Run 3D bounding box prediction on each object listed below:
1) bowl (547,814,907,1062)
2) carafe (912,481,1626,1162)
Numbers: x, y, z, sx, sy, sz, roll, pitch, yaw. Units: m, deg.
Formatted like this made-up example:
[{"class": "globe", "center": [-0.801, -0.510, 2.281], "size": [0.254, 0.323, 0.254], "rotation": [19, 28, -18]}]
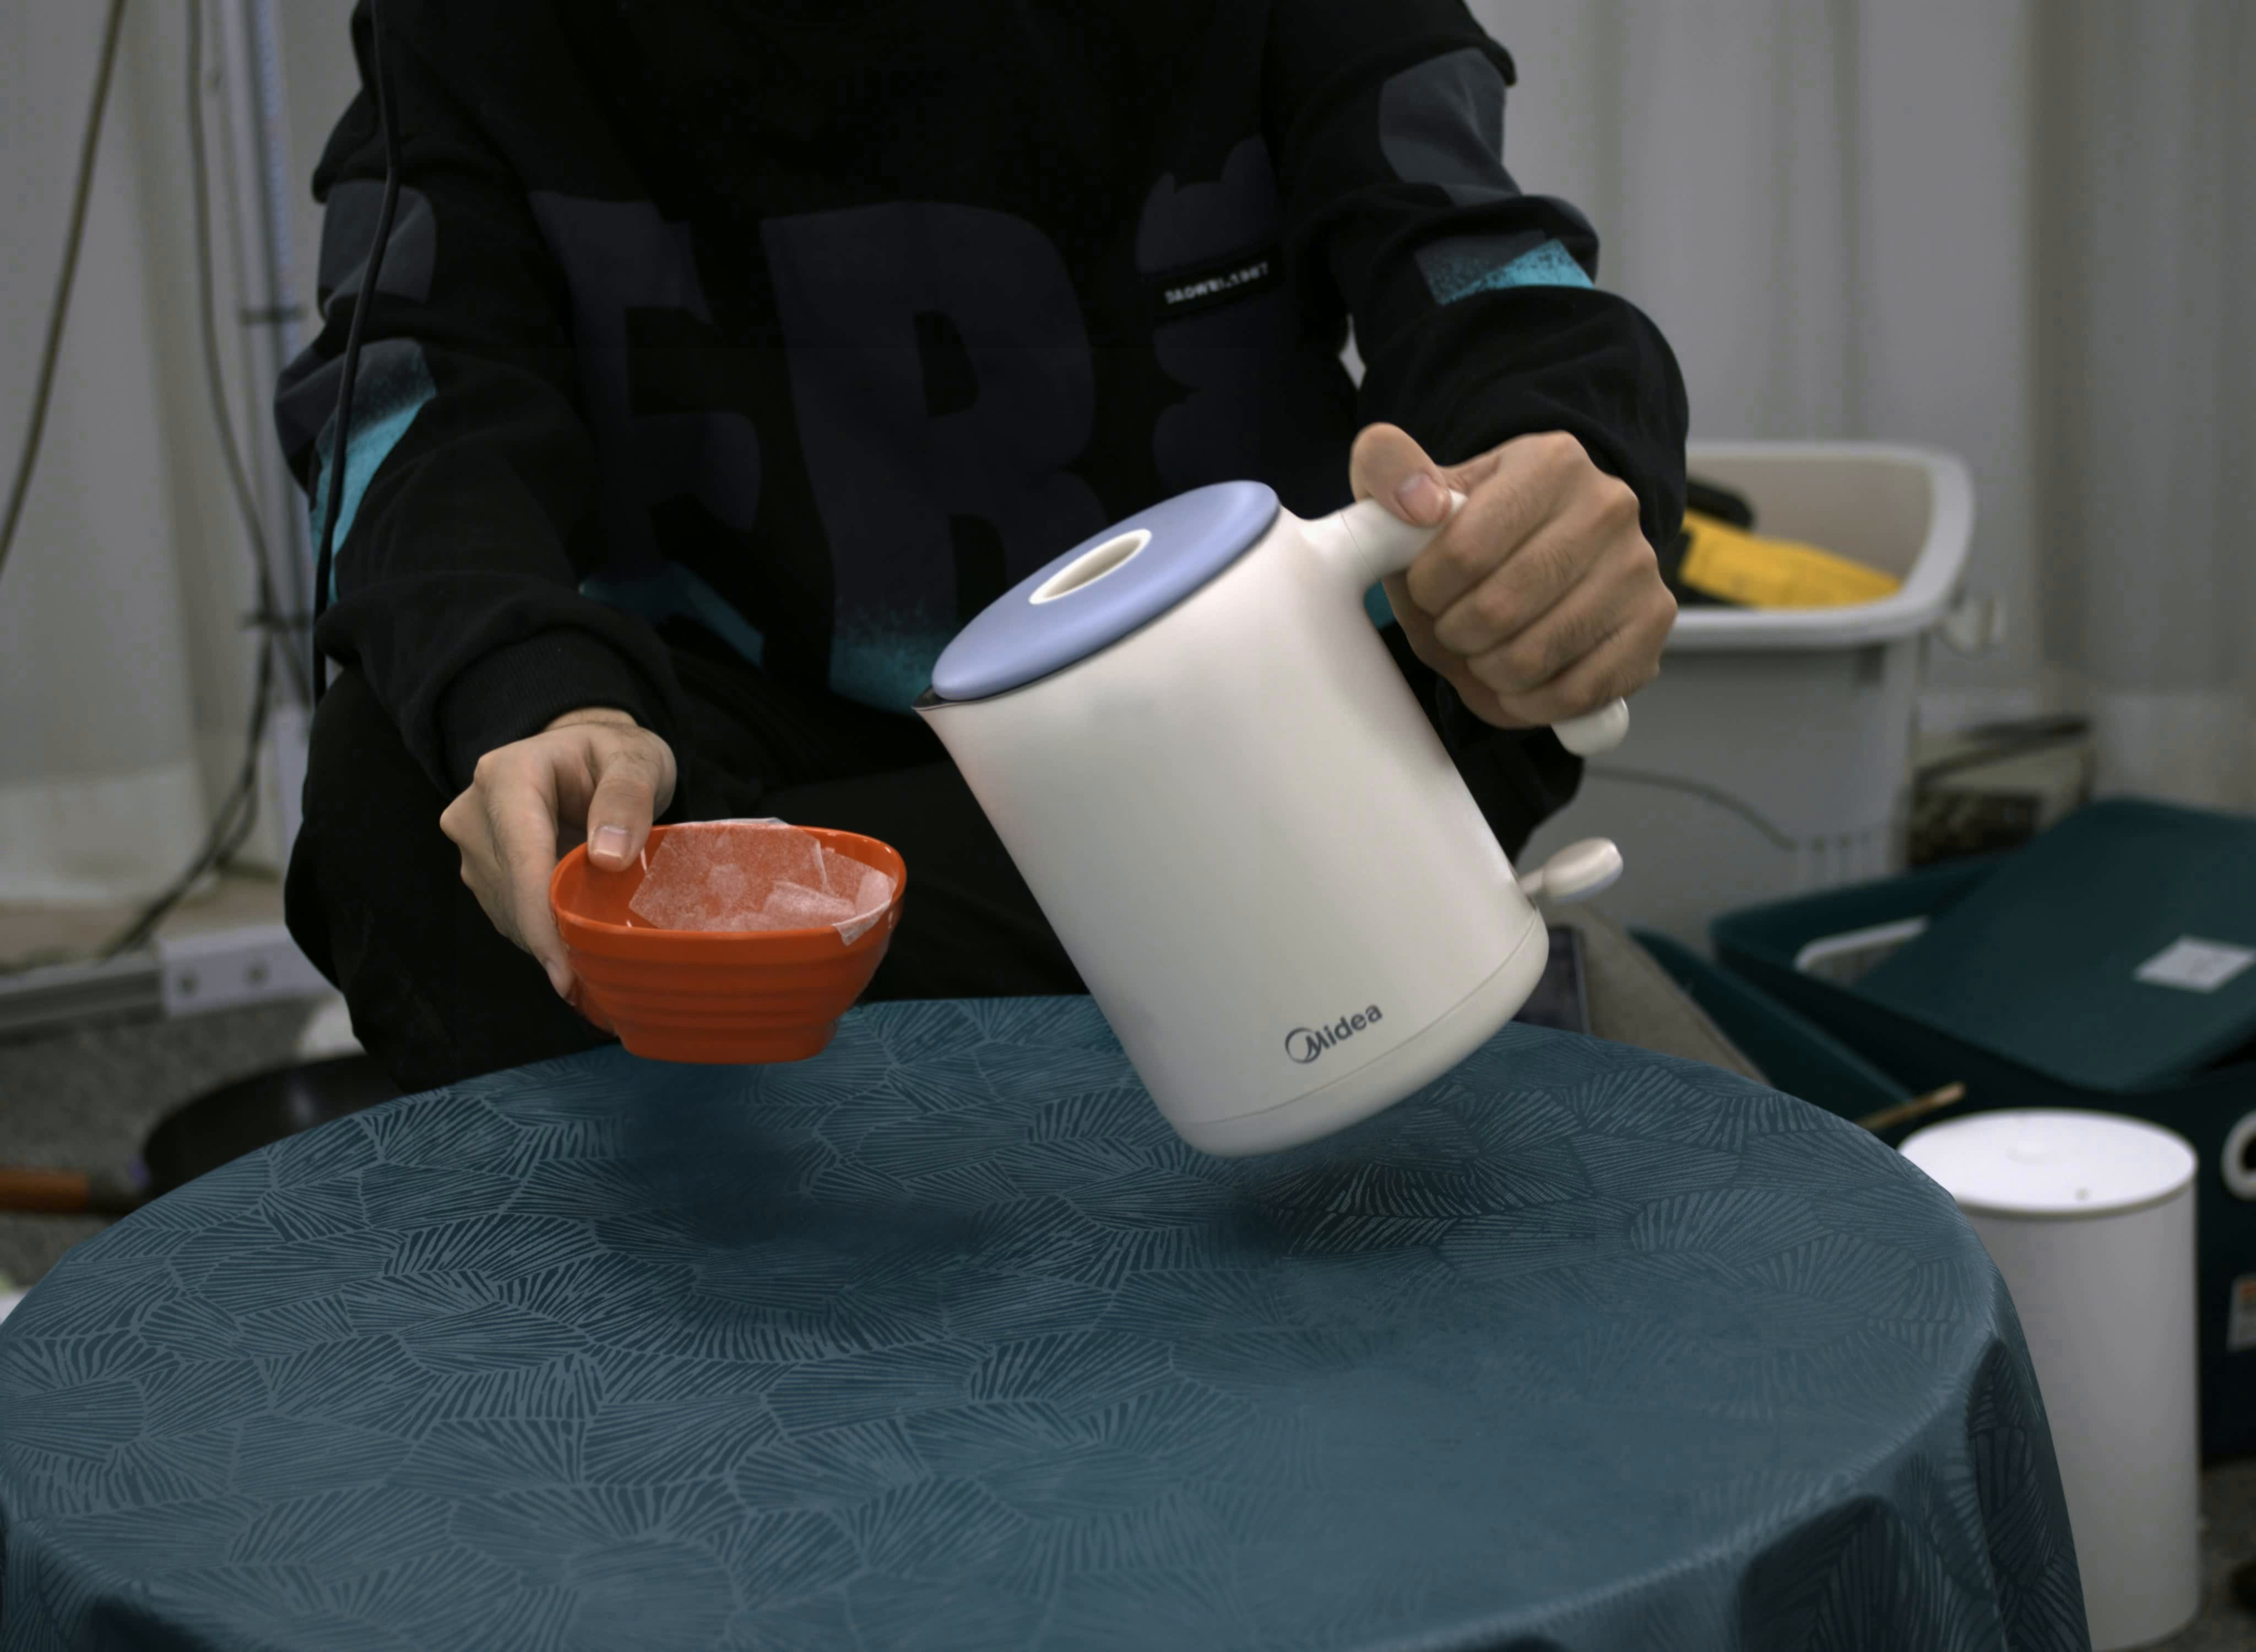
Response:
[{"class": "bowl", "center": [-0.122, 0.037, 1.689], "size": [0.118, 0.051, 0.120], "rotation": [-1, 19, 0]}, {"class": "carafe", "center": [0.054, -0.013, 1.657], "size": [0.190, 0.181, 0.133], "rotation": [-26, 14, 5]}]
